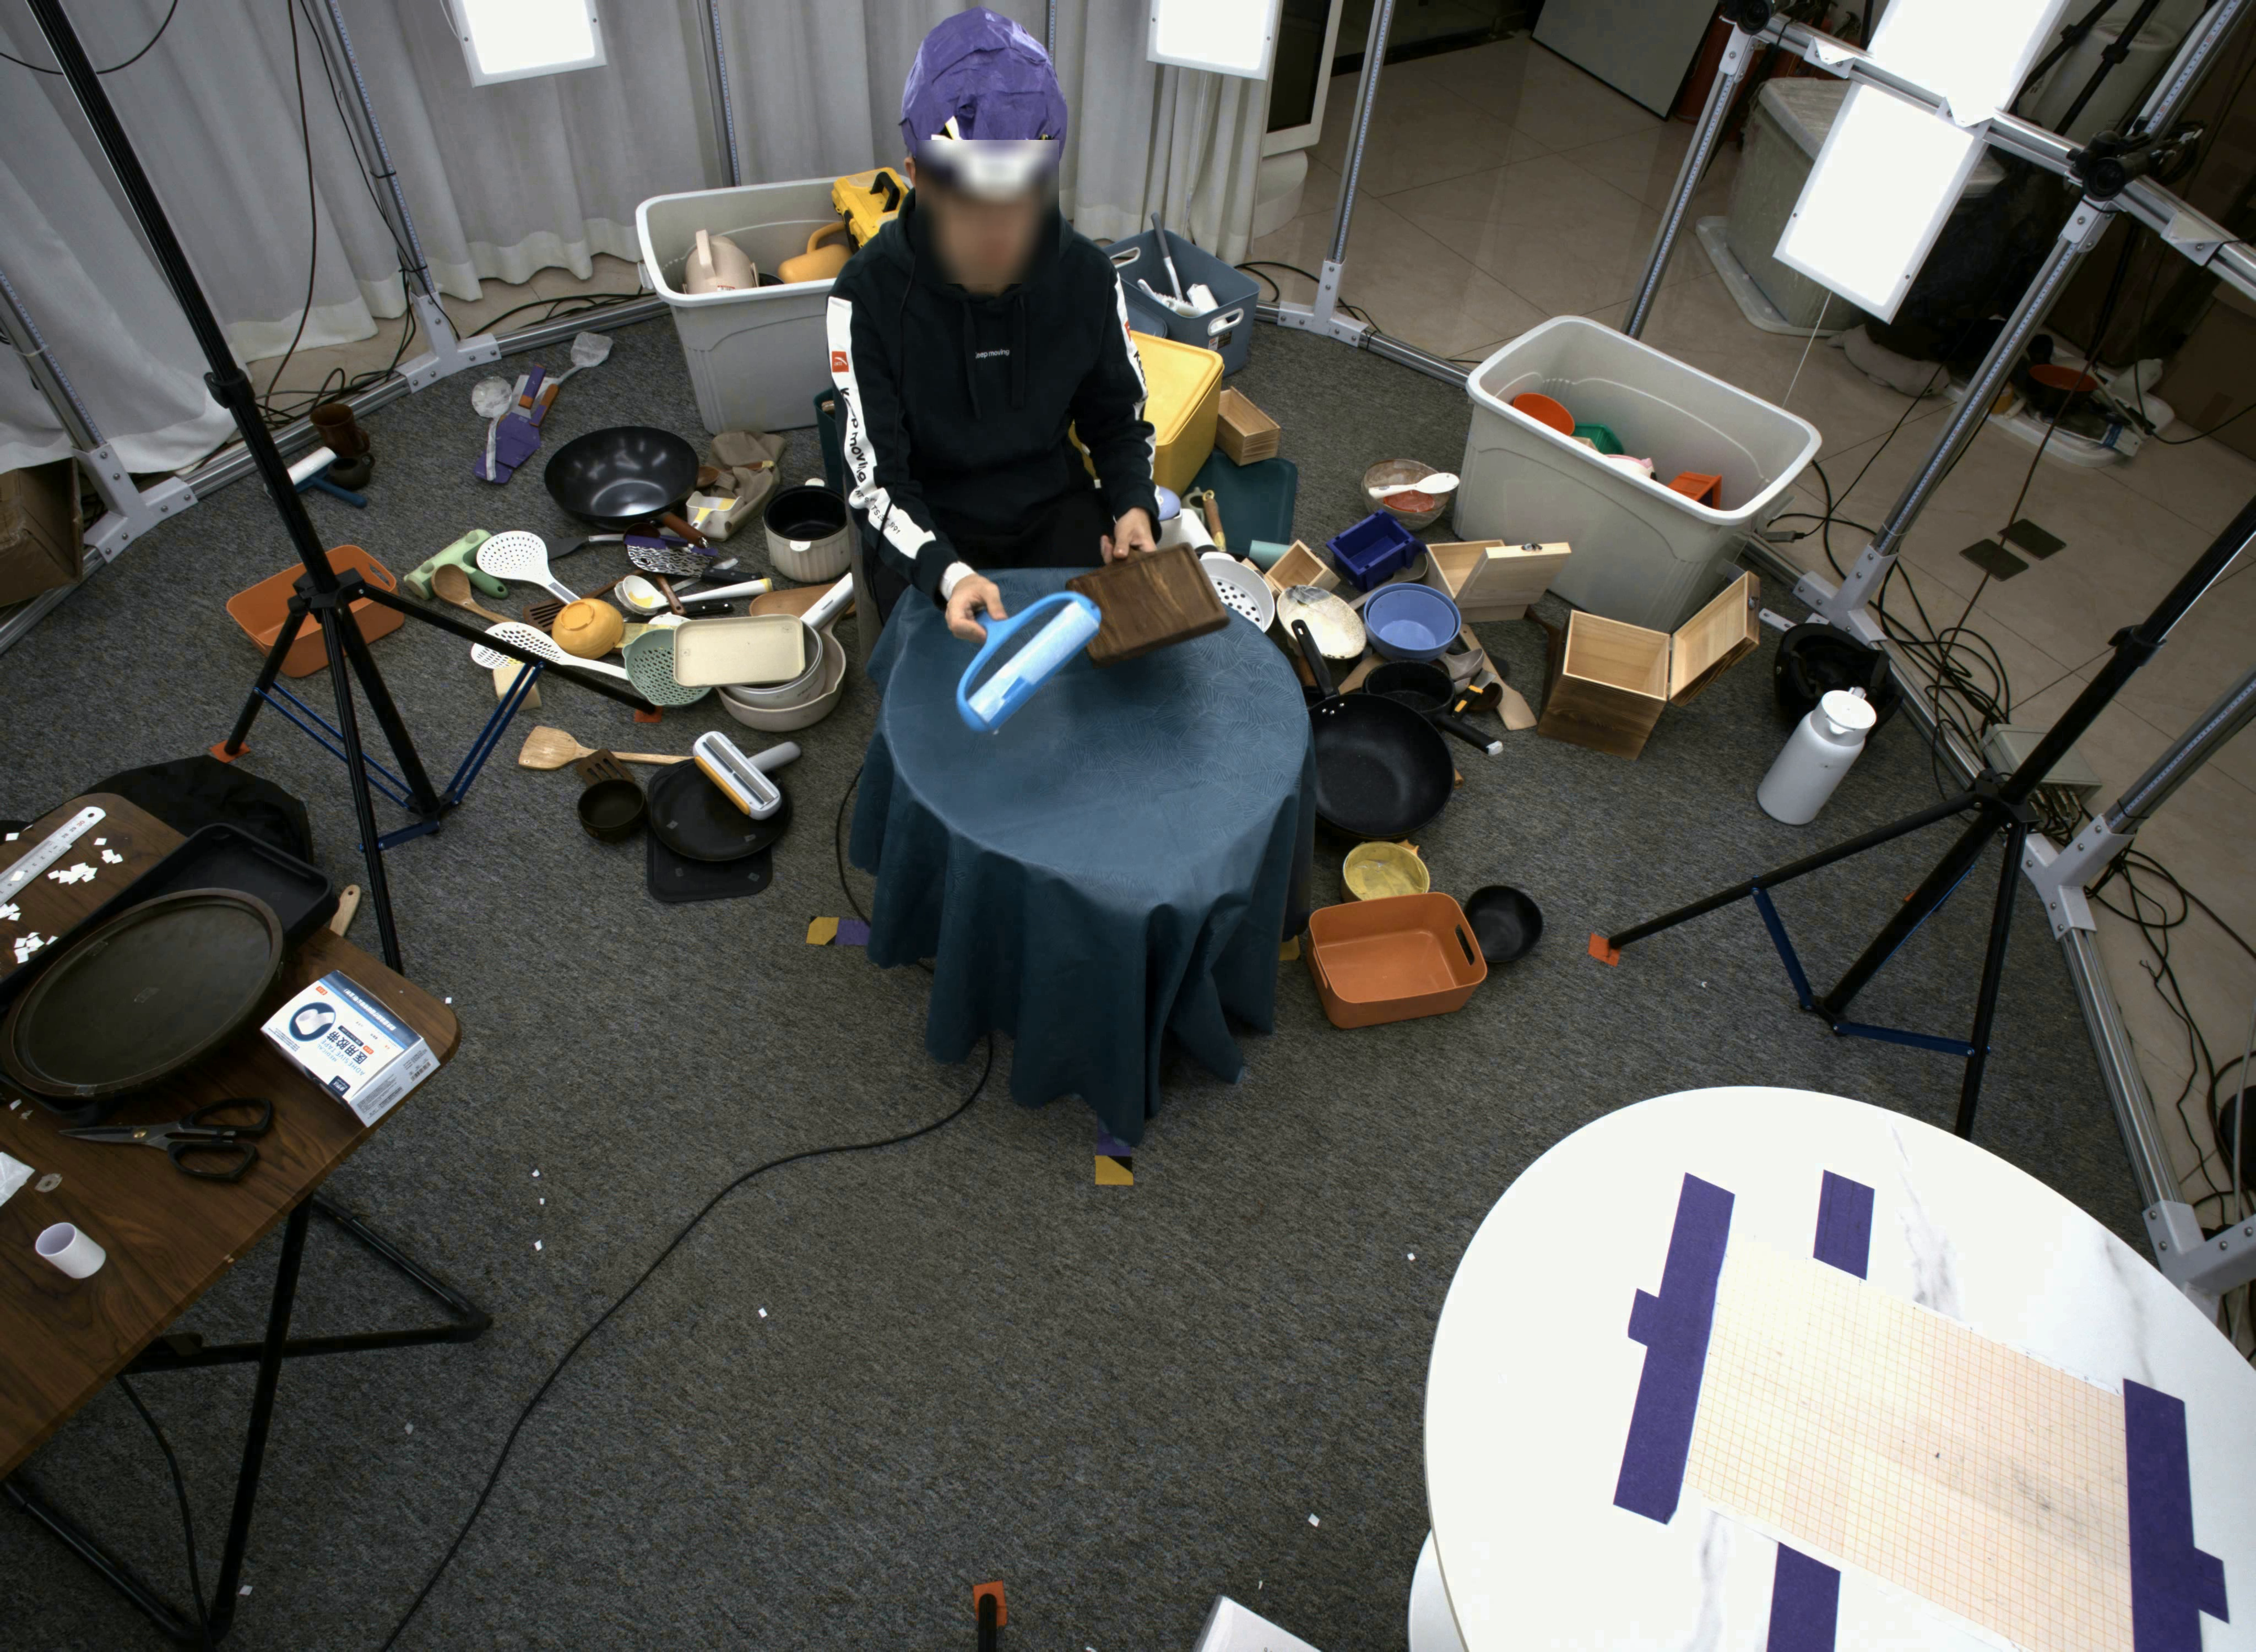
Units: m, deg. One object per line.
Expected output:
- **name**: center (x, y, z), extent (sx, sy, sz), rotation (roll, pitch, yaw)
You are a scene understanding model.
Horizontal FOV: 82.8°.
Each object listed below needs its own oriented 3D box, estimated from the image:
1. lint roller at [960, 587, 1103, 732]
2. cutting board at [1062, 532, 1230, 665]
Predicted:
- **lint roller**: center (-0.158, -0.243, 1.685), extent (0.183, 0.066, 0.229), rotation (39, 85, 32)
- **cutting board**: center (0.011, -0.349, 1.861), extent (0.201, 0.022, 0.360), rotation (-17, 36, -1)
